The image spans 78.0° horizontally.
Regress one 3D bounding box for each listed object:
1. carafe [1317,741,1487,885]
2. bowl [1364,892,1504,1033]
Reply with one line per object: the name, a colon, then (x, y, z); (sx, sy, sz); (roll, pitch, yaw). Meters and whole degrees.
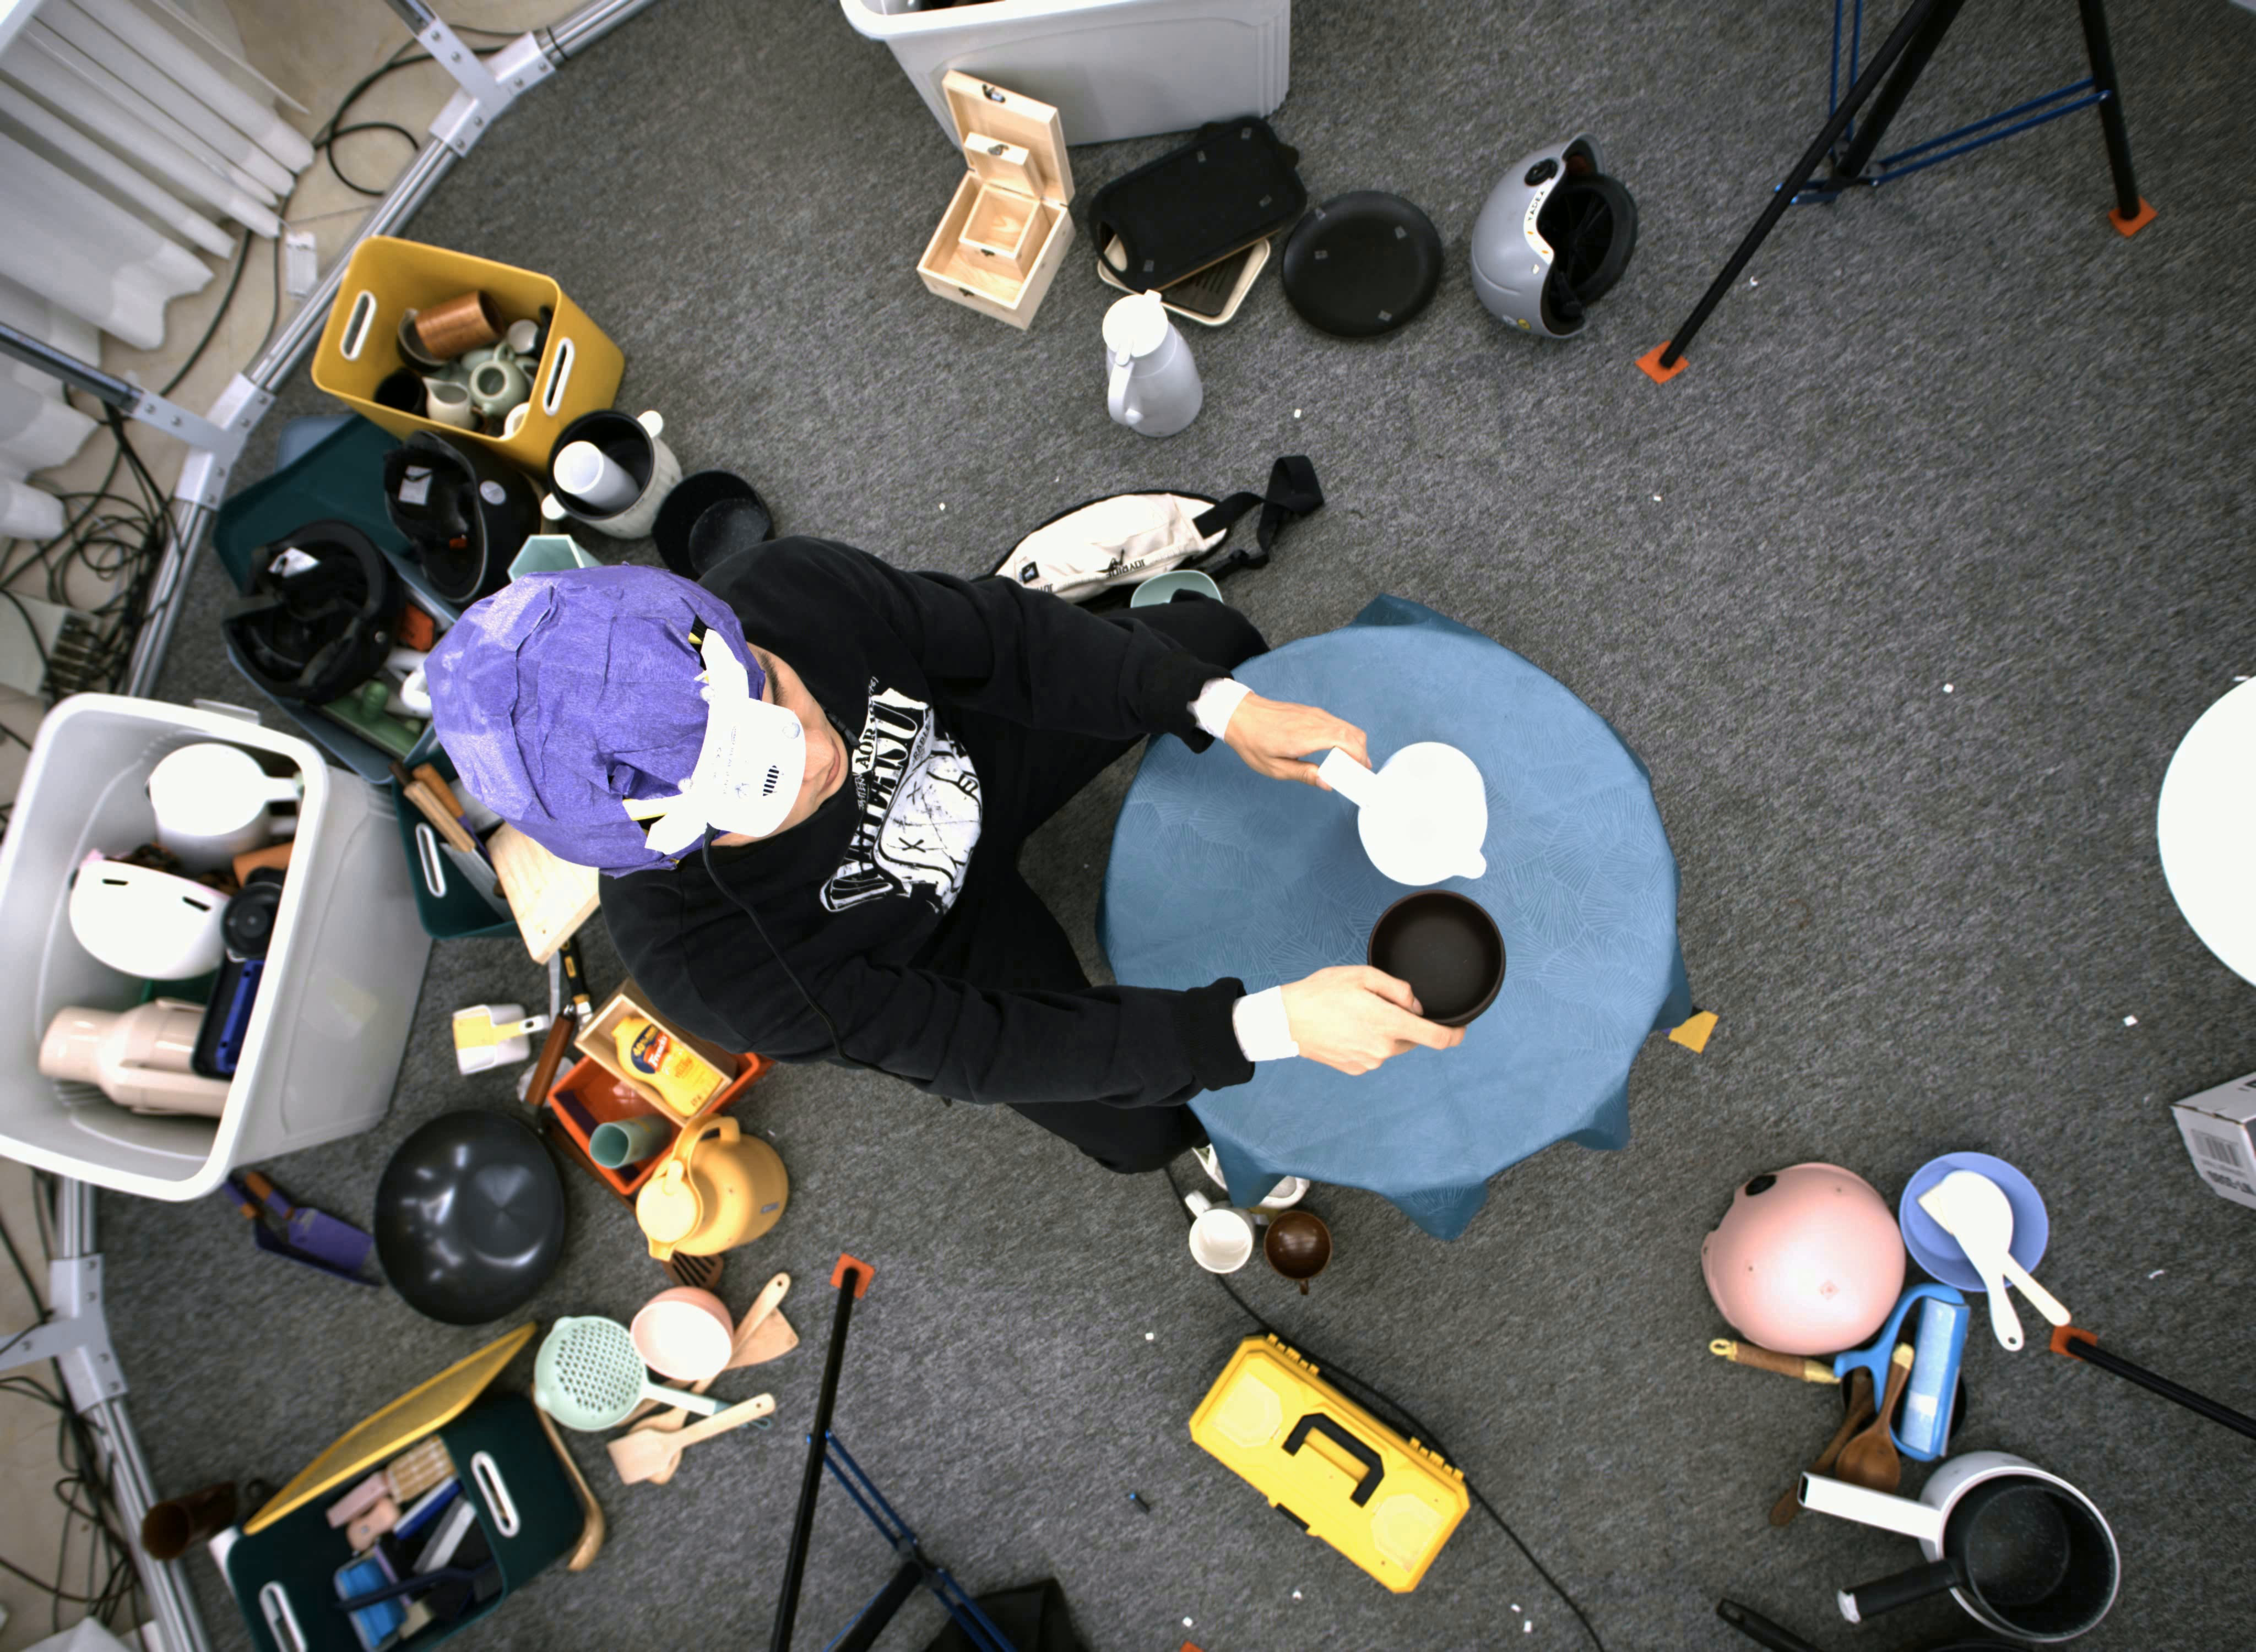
carafe: (0.268, -0.023, 1.323); (0.172, 0.265, 0.125); (34, 107, 7)
bowl: (0.263, 0.119, 1.190); (0.118, 0.070, 0.116); (-3, 76, 12)
